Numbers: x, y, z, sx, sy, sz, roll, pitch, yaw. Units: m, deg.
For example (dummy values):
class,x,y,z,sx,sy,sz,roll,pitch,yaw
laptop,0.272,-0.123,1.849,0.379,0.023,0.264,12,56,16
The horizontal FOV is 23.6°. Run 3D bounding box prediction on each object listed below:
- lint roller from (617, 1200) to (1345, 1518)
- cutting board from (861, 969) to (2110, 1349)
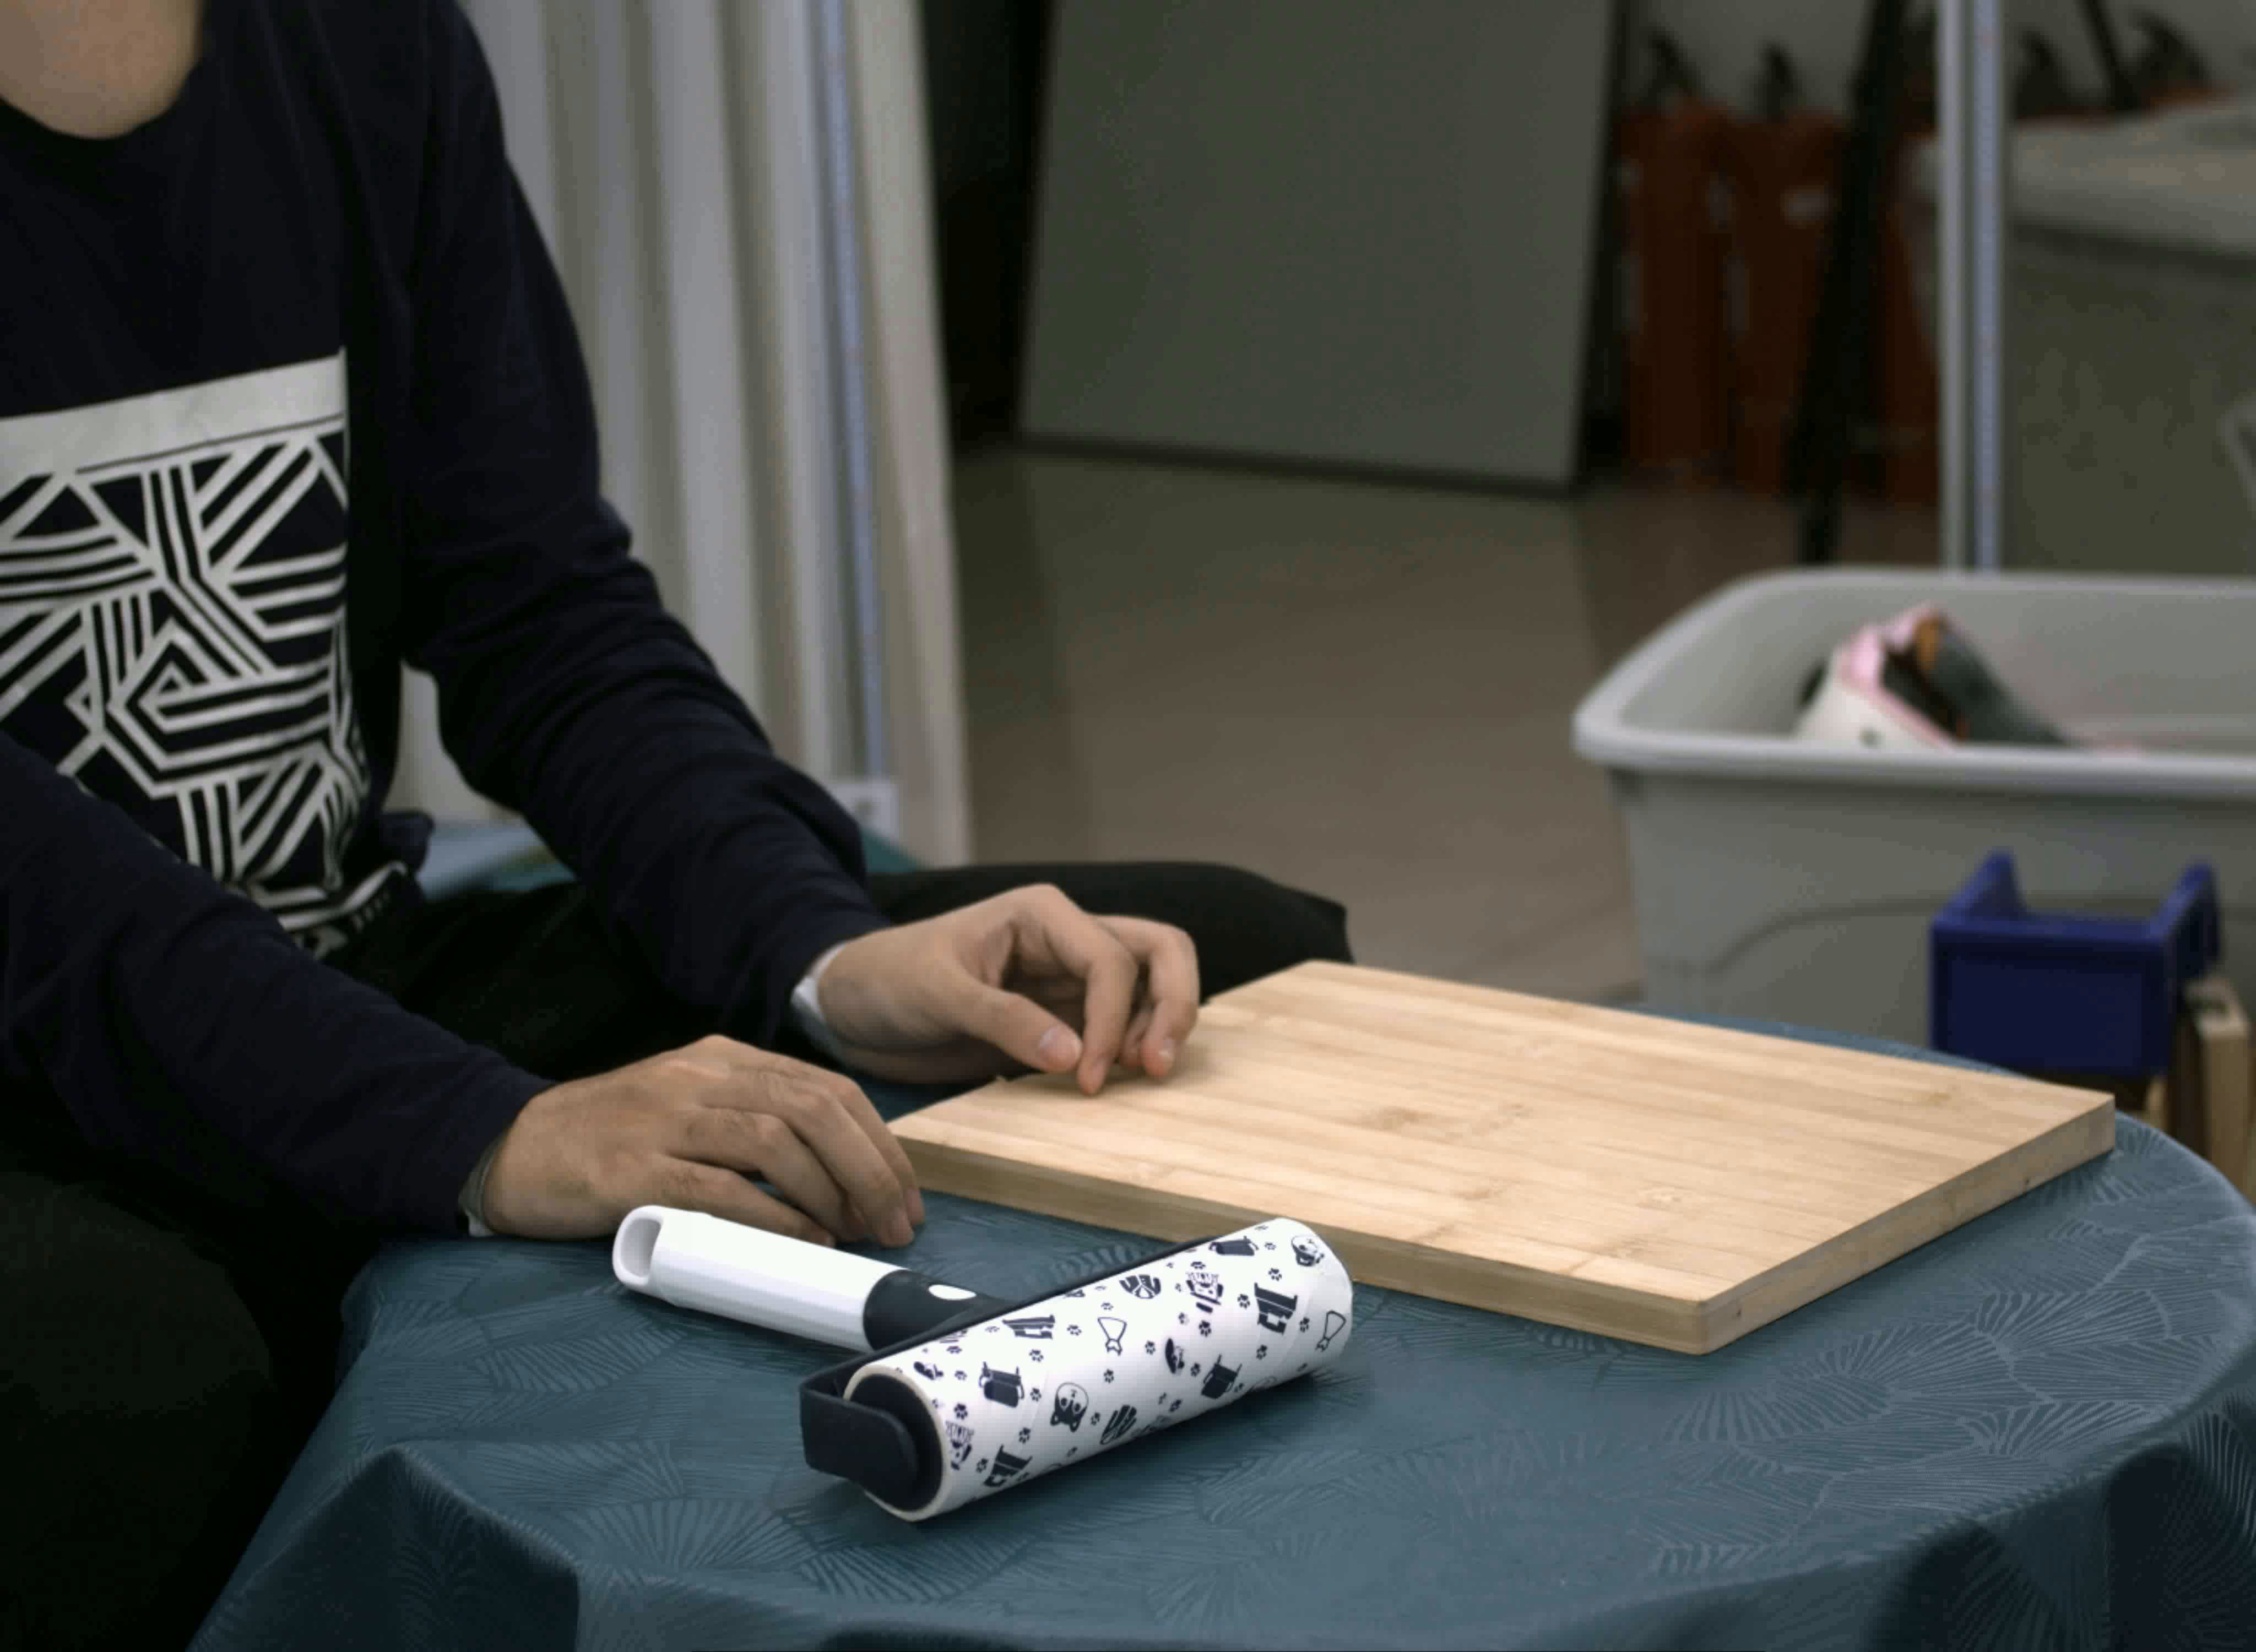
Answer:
class,x,y,z,sx,sy,sz,roll,pitch,yaw
lint roller,-0.076,0.144,1.616,0.172,0.051,0.249,-17,16,-40
cutting board,0.115,0.104,1.779,0.351,0.024,0.246,8,17,41
